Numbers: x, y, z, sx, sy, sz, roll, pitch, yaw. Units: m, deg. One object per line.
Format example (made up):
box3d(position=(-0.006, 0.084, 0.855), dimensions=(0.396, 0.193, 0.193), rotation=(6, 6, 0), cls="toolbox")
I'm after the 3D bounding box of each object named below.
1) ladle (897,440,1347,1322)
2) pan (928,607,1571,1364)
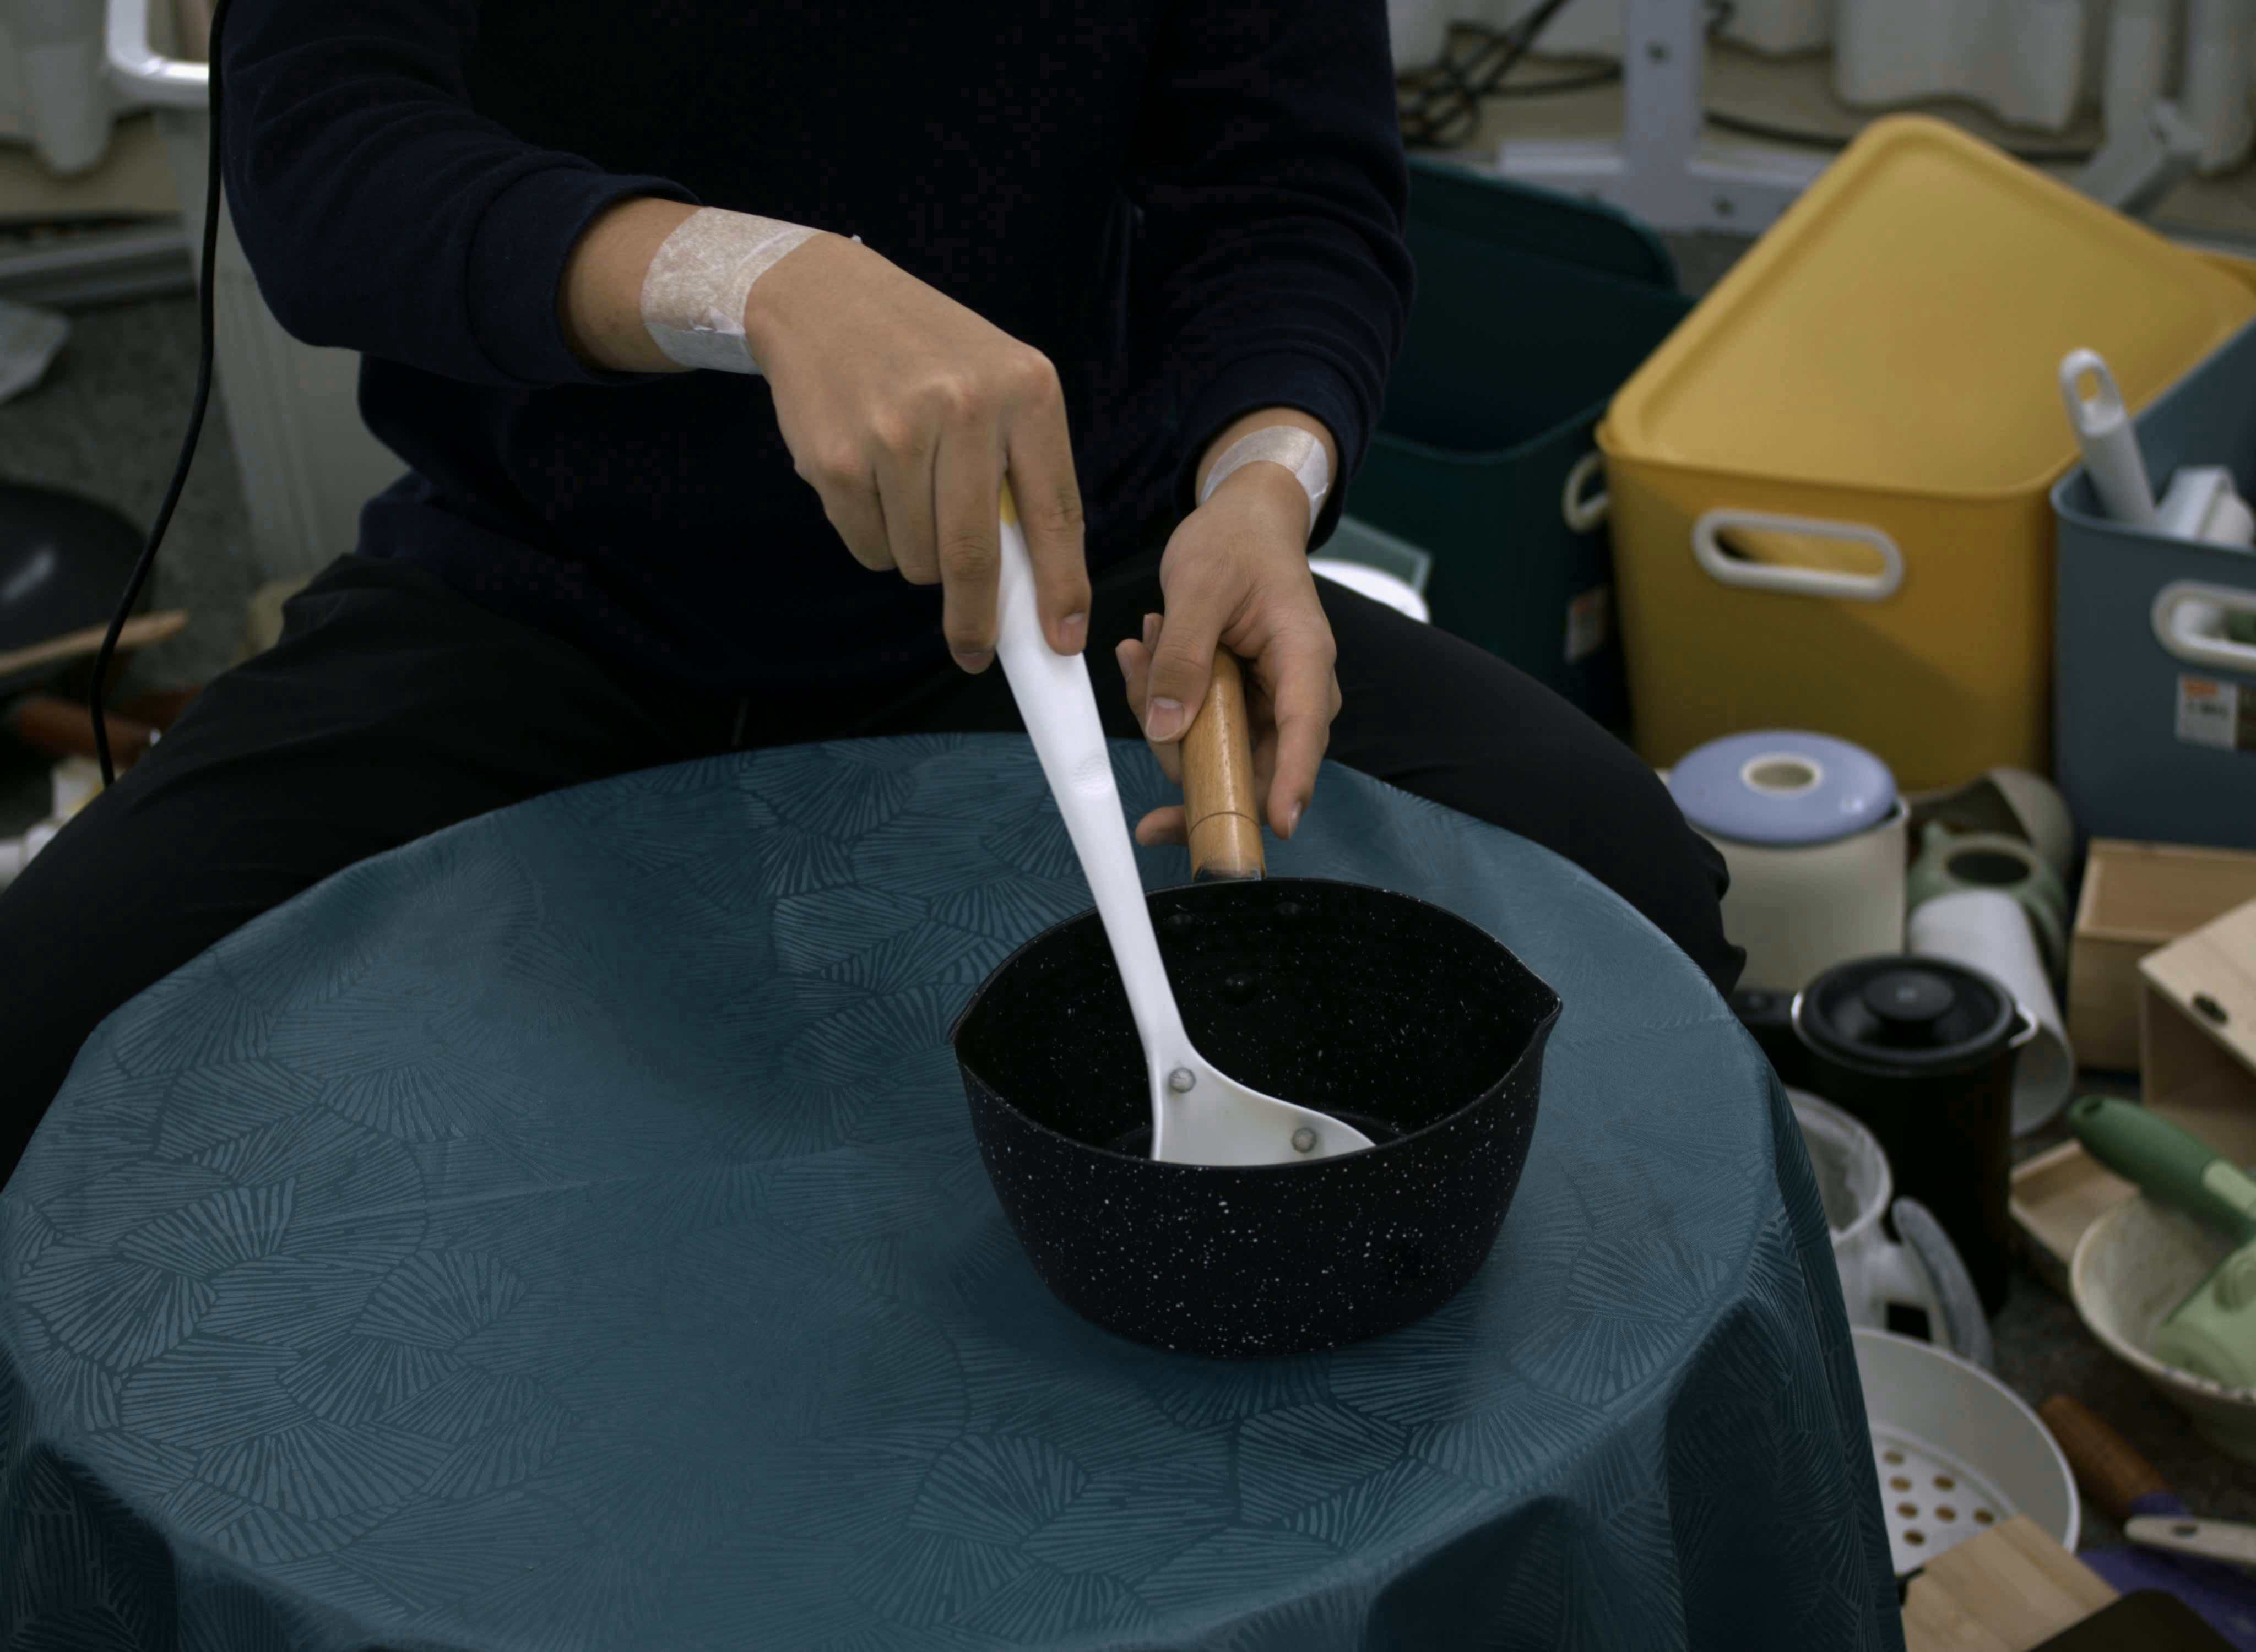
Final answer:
box3d(position=(-0.002, 0.016, 1.784), dimensions=(0.091, 0.293, 0.069), rotation=(-22, 4, -25), cls="ladle")
box3d(position=(0.035, 0.050, 1.881), dimensions=(0.206, 0.107, 0.348), rotation=(-5, 29, -2), cls="pan")
